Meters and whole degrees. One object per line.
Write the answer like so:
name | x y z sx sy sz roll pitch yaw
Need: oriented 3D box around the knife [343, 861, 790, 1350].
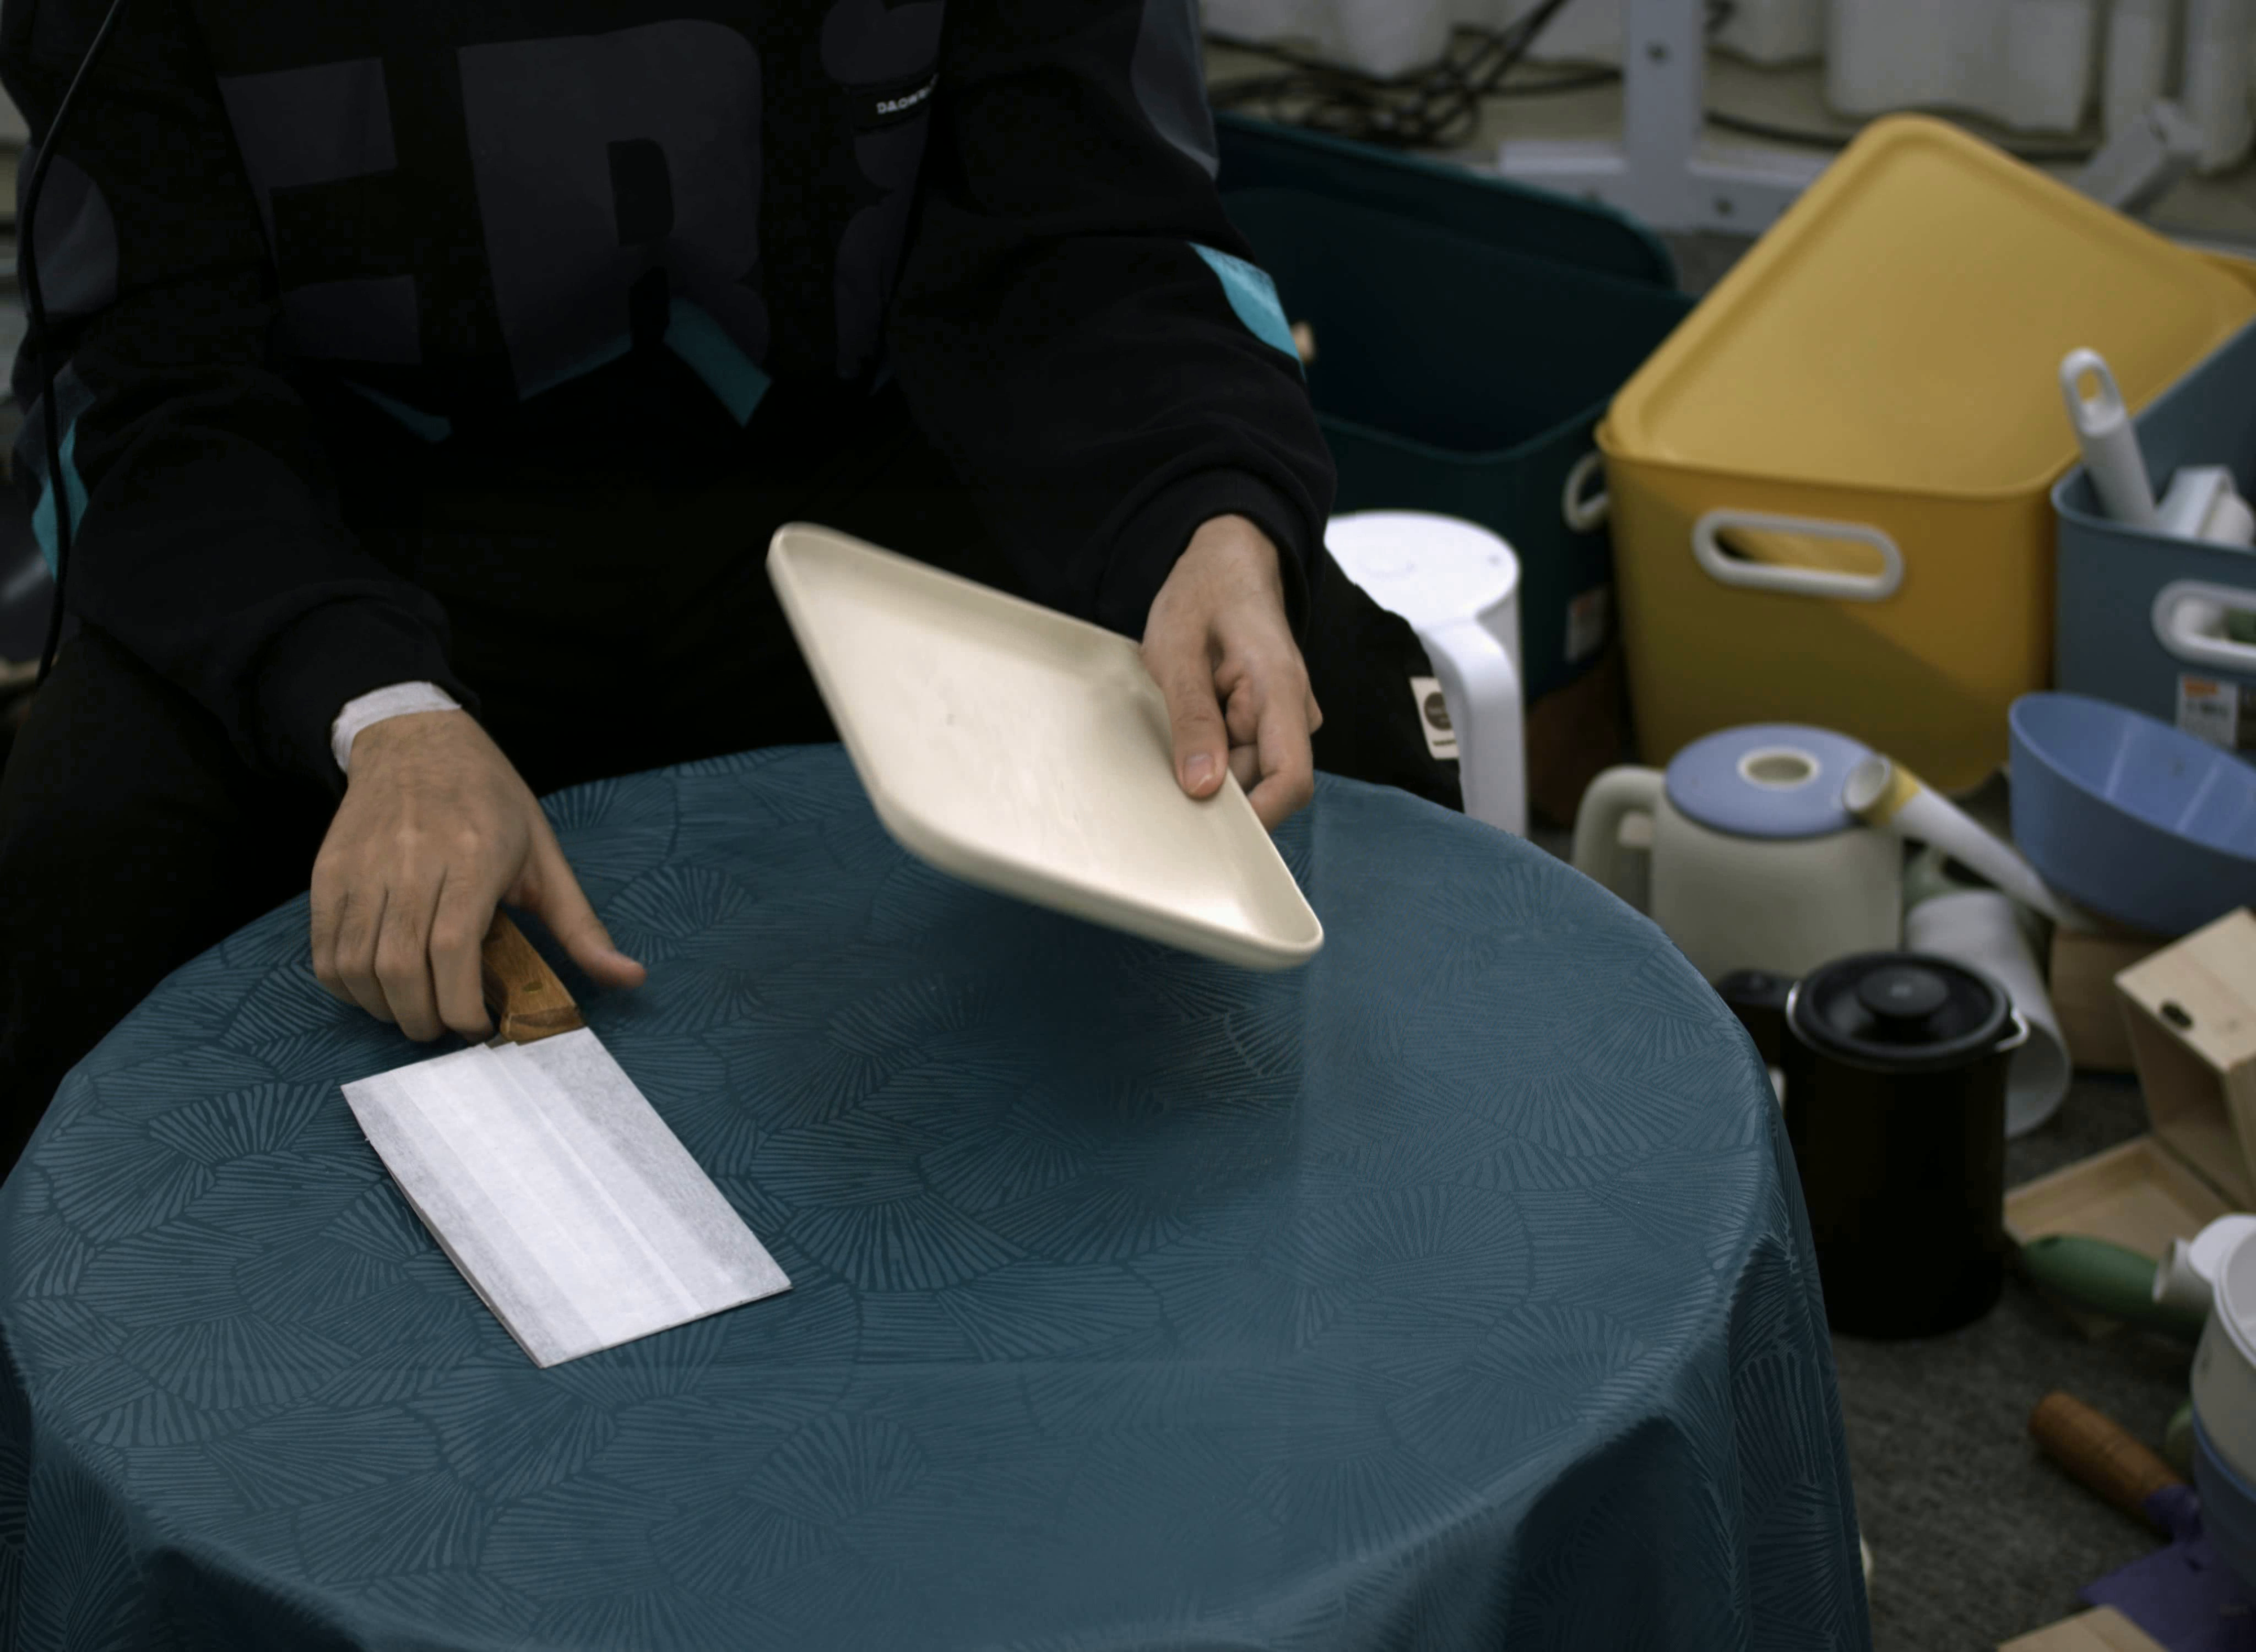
knife | -0.214 0.095 1.918 0.093 0.021 0.308 -16 33 -21

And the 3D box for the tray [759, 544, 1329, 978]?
tray | -0.033 -0.022 1.939 0.171 0.017 0.242 16 22 -24
